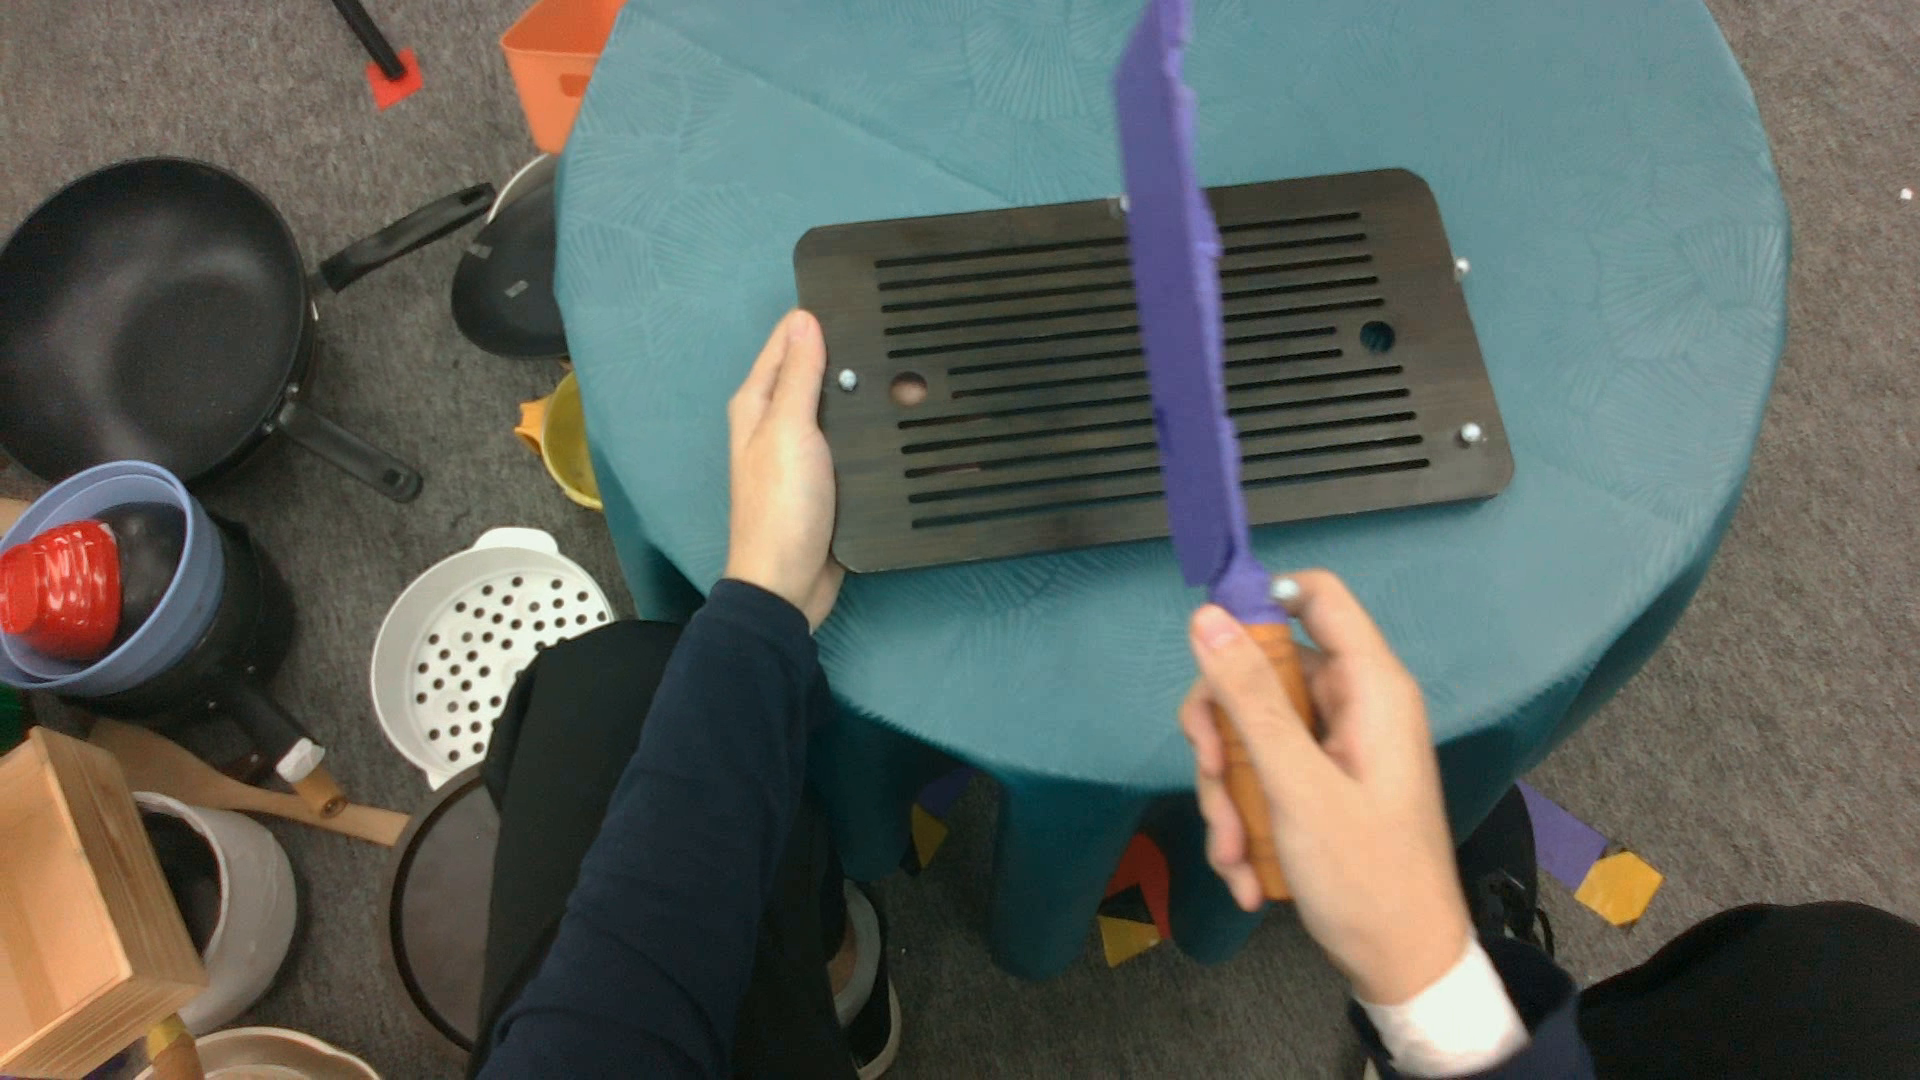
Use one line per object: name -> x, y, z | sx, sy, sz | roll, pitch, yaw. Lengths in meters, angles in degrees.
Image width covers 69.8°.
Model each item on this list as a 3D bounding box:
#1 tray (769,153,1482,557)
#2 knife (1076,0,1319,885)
tray -> 0.073, -0.088, 0.628 | 0.306, 0.018, 0.170 | -7, 71, -7
knife -> 0.080, -0.041, 0.496 | 0.032, 0.104, 0.315 | -8, 87, -4
